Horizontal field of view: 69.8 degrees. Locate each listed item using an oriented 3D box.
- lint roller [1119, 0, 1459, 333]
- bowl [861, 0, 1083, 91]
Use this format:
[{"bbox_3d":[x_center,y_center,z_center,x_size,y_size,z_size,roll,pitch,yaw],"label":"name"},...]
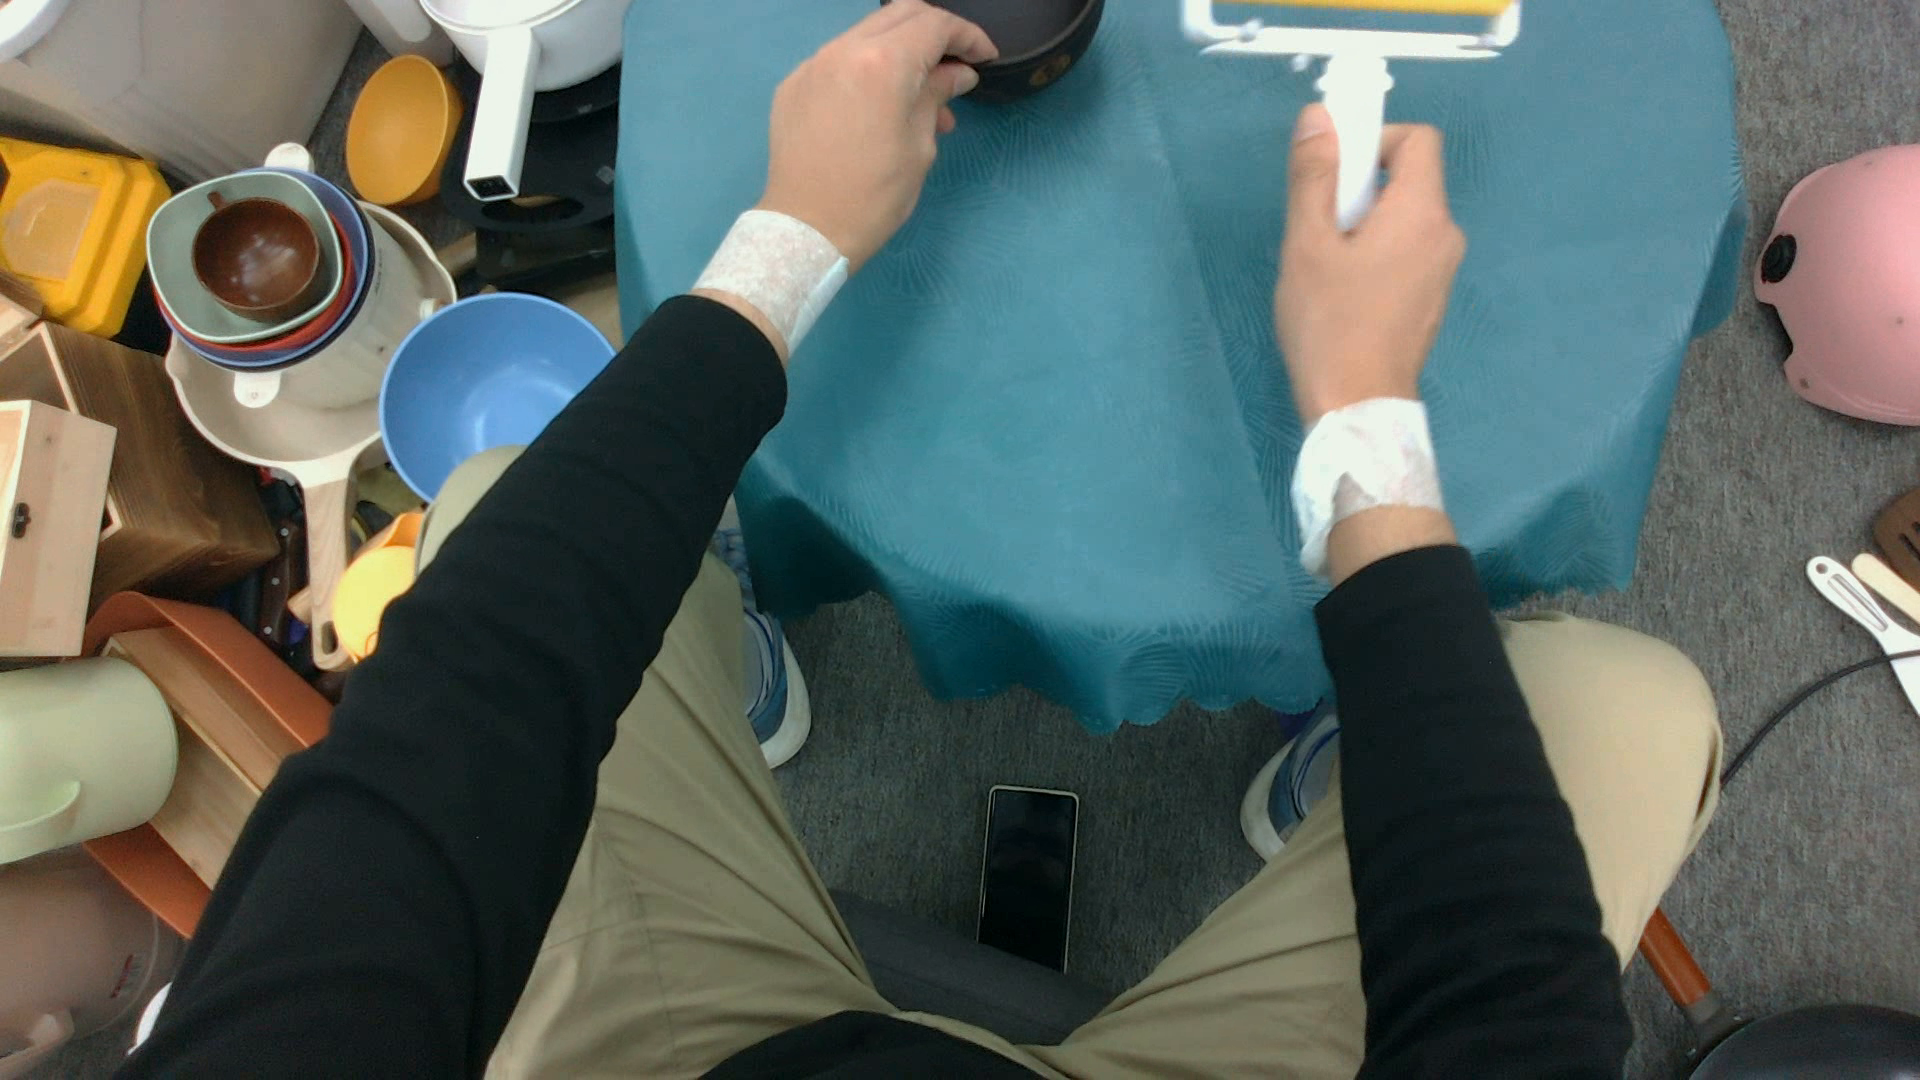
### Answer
[{"bbox_3d":[0.164,-0.191,0.620,0.175,0.051,0.192,-13,93,-22],"label":"lint roller"},{"bbox_3d":[0.007,-0.289,0.719,0.118,0.070,0.118,-1,79,3],"label":"bowl"}]
